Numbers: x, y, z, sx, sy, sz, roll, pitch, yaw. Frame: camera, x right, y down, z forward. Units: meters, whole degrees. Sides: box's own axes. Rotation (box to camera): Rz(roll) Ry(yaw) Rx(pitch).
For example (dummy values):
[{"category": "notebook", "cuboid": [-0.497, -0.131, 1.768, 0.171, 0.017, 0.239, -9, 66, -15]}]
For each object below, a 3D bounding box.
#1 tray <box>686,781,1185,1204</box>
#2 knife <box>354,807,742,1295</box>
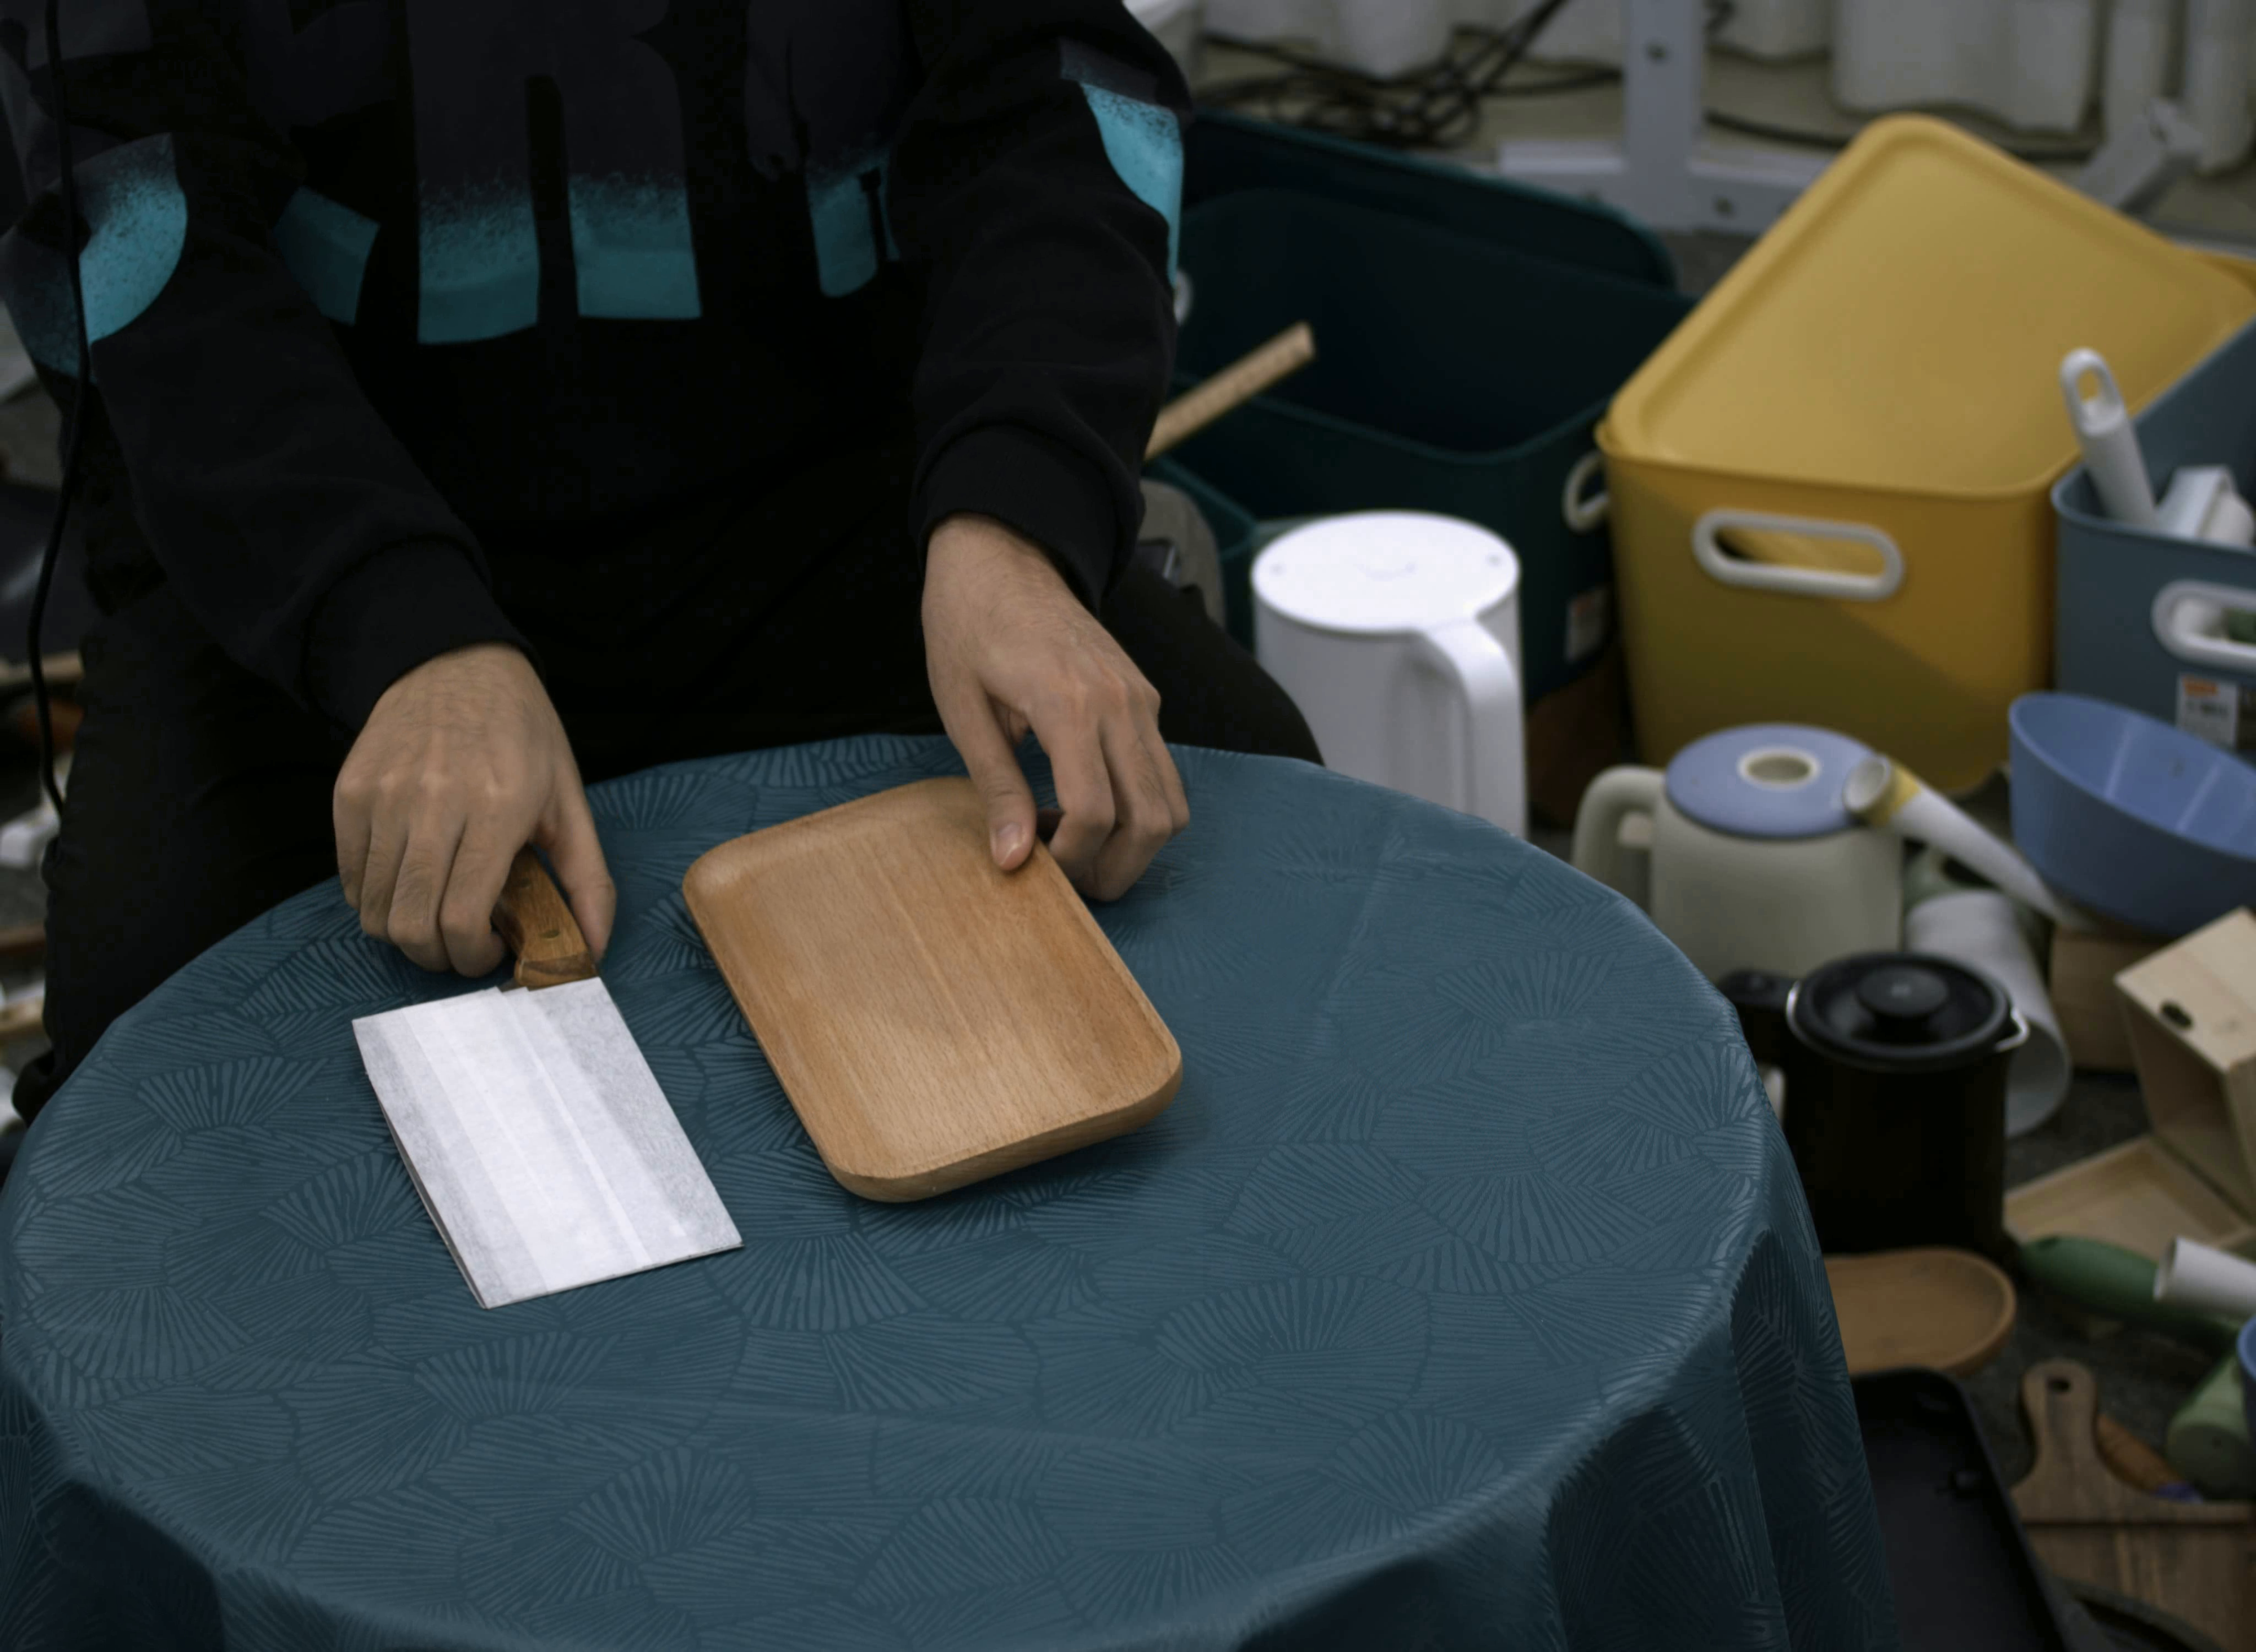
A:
[{"category": "tray", "cuboid": [-0.070, 0.056, 1.966, 0.130, 0.022, 0.253, -14, 28, -12]}, {"category": "knife", "cuboid": [-0.217, 0.077, 1.953, 0.093, 0.021, 0.309, -13, 31, -16]}]
